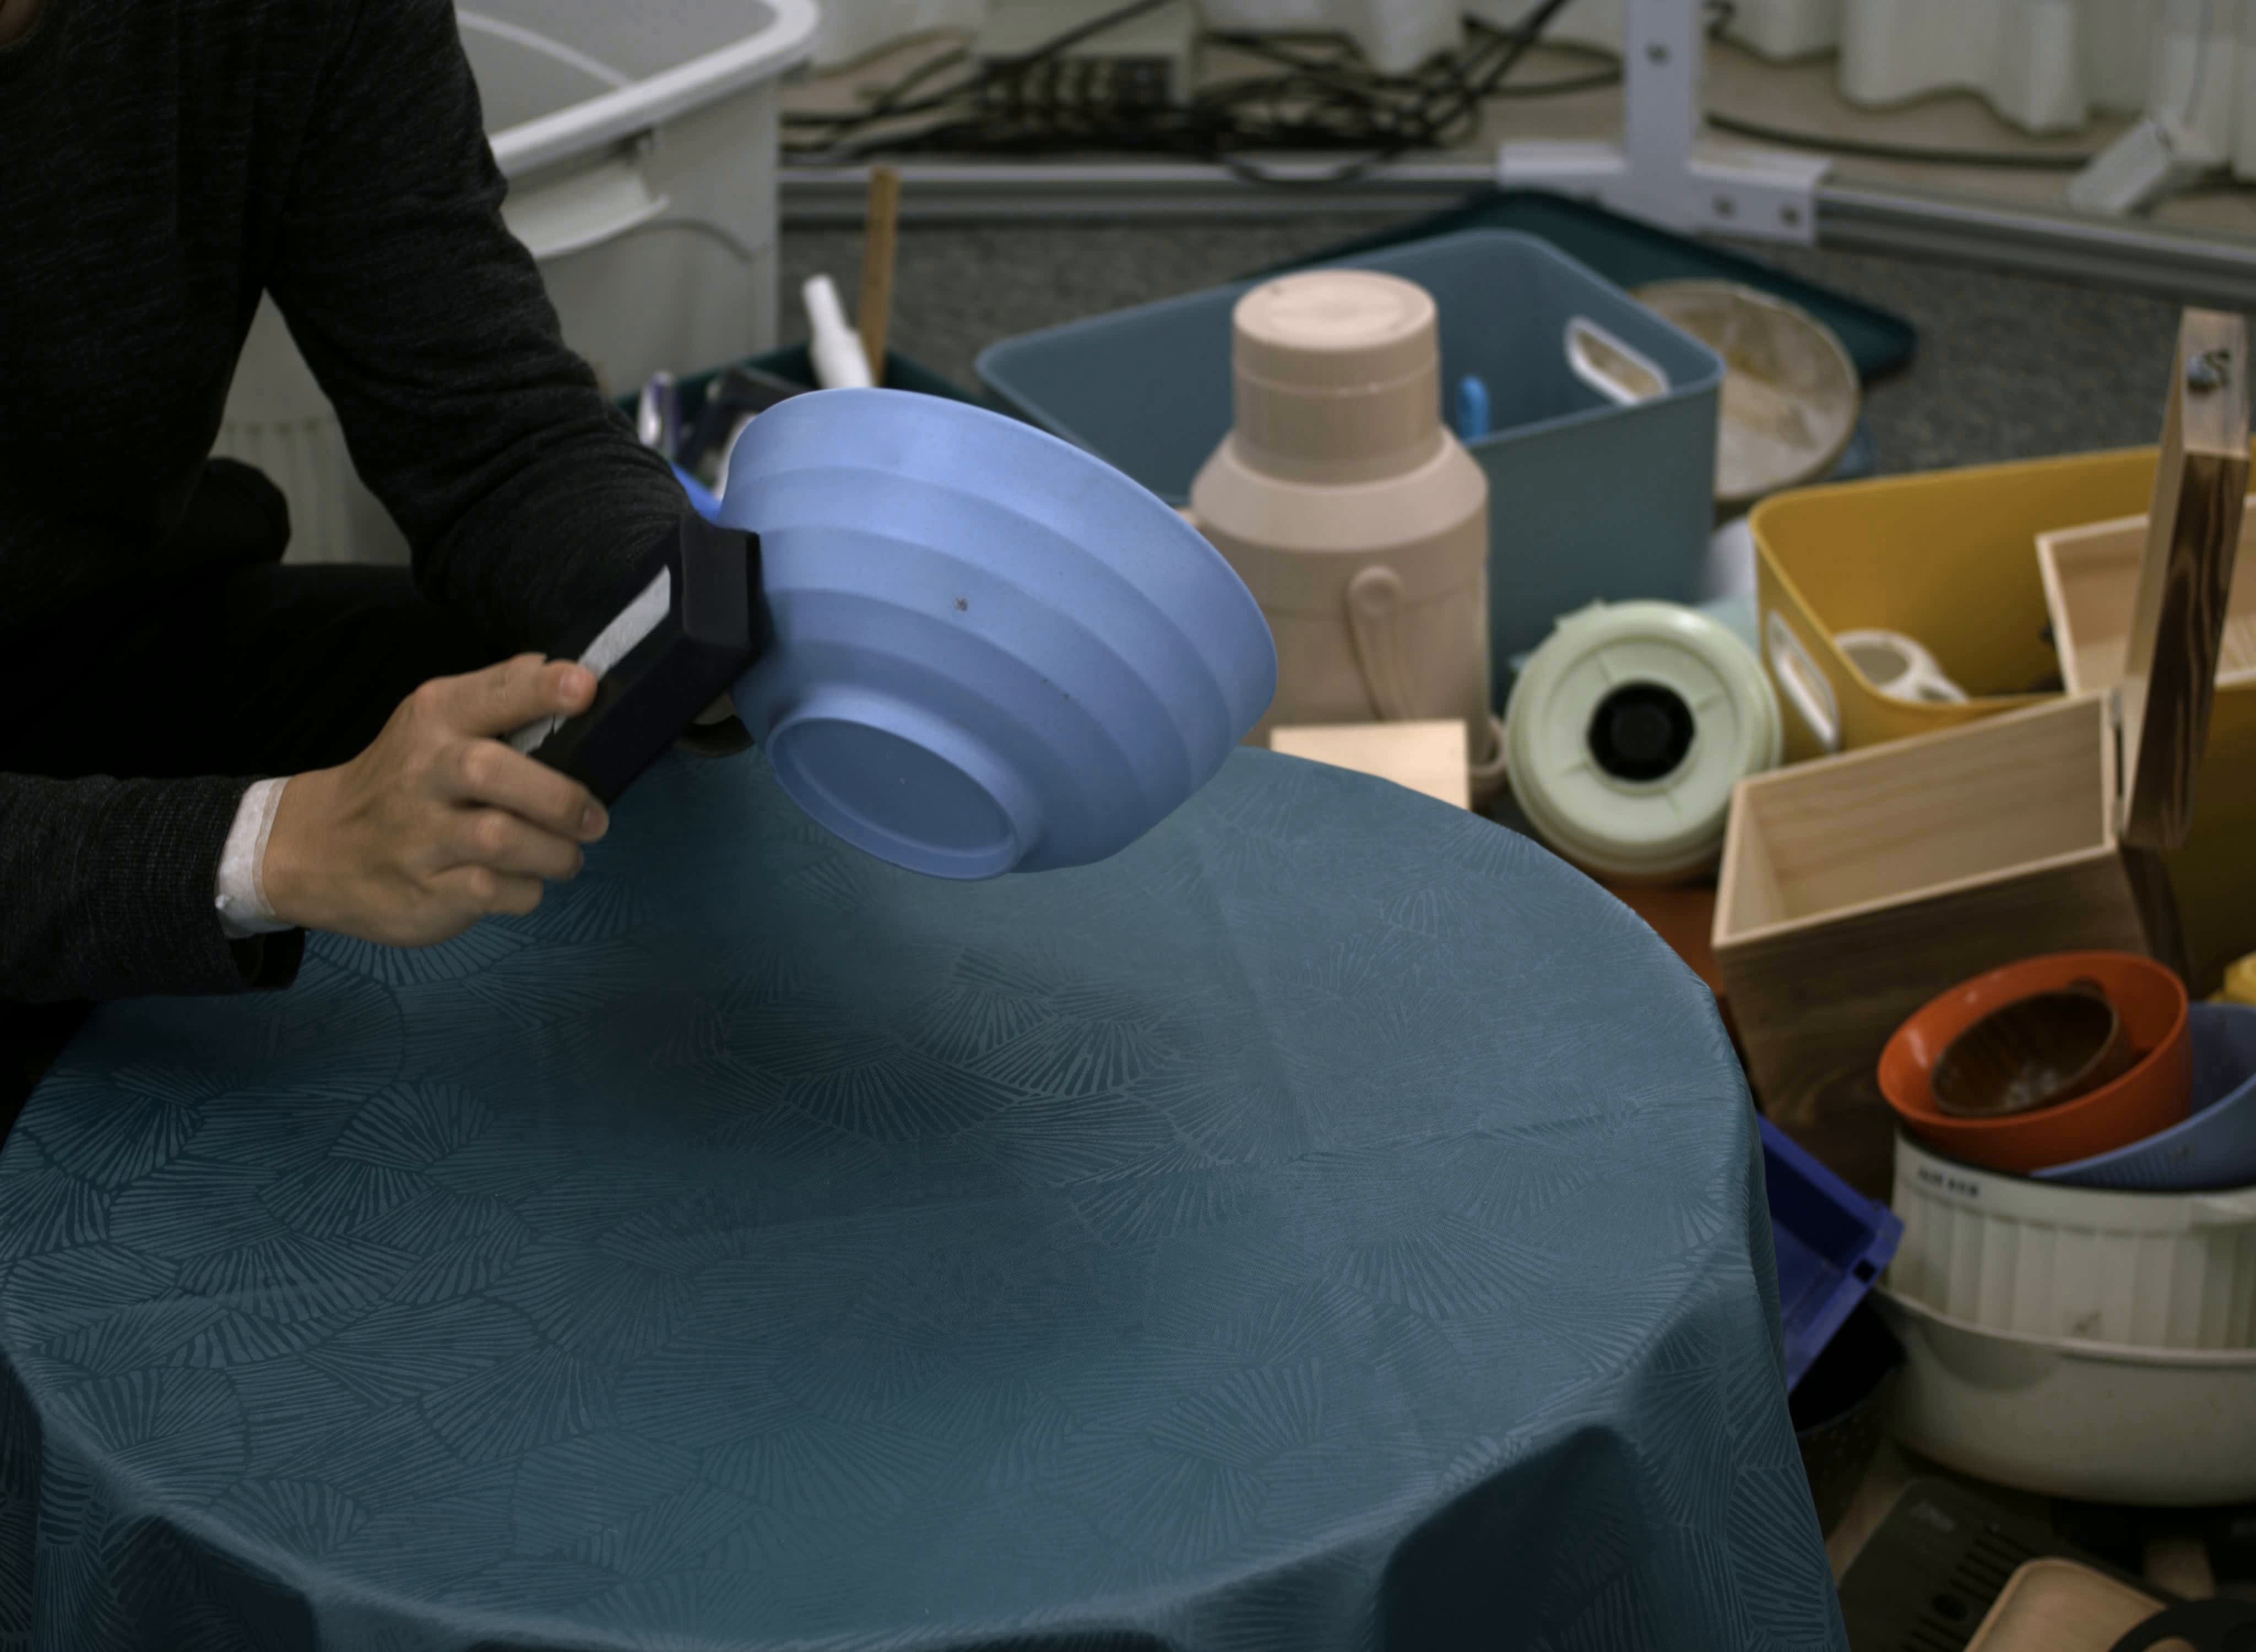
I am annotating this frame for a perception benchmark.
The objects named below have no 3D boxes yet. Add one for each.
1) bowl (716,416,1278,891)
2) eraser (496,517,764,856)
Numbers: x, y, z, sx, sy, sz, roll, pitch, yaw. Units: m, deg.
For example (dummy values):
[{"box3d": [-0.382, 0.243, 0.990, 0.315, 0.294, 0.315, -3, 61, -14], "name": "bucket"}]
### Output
[{"box3d": [-0.057, -0.042, 1.850, 0.195, 0.194, 0.097, 9, 64, 22], "name": "bowl"}, {"box3d": [-0.161, -0.045, 1.820, 0.030, 0.123, 0.054, 23, 45, -28], "name": "eraser"}]
